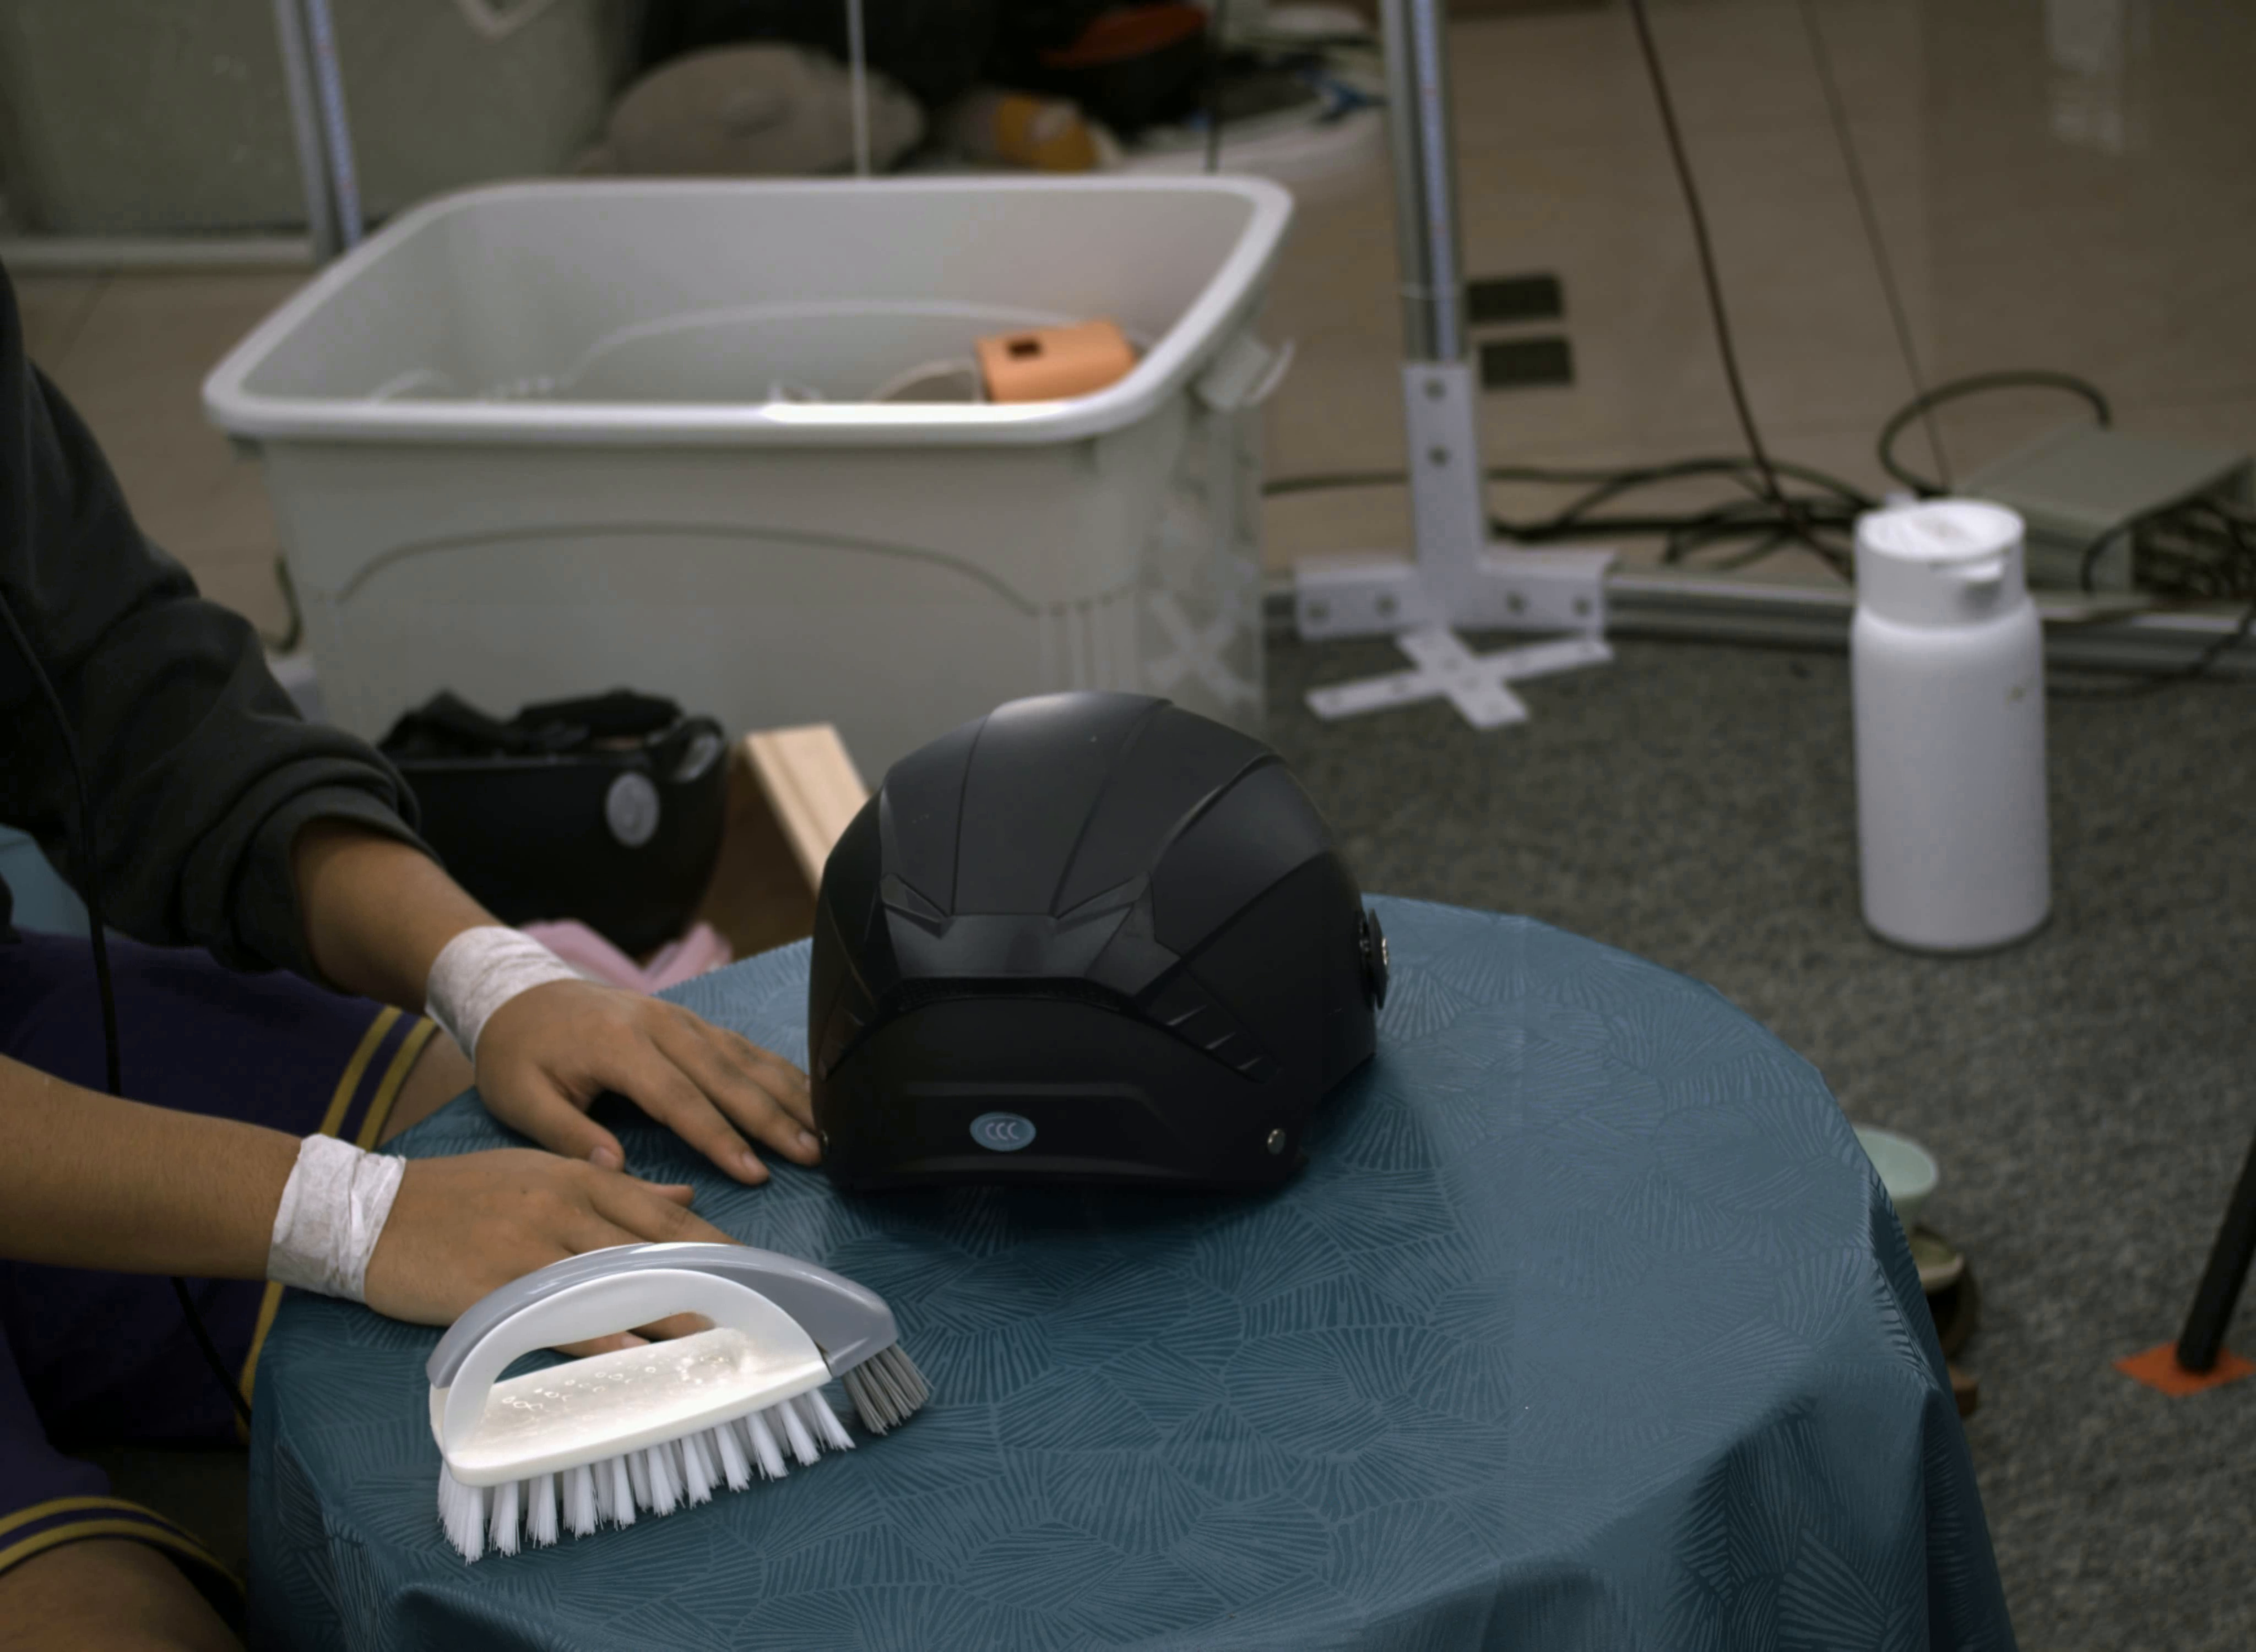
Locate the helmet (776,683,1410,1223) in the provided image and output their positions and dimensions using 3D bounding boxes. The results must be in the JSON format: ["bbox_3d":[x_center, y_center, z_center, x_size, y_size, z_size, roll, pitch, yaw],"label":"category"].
[{"bbox_3d":[-0.016,0.033,2.187,0.246,0.175,0.272,1,30,15],"label":"helmet"}]

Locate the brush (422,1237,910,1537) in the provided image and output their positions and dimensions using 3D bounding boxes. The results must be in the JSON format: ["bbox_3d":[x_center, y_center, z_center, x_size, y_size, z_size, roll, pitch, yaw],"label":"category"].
[{"bbox_3d":[-0.162,0.184,1.980,0.175,0.096,0.060,-11,30,-14],"label":"brush"}]
